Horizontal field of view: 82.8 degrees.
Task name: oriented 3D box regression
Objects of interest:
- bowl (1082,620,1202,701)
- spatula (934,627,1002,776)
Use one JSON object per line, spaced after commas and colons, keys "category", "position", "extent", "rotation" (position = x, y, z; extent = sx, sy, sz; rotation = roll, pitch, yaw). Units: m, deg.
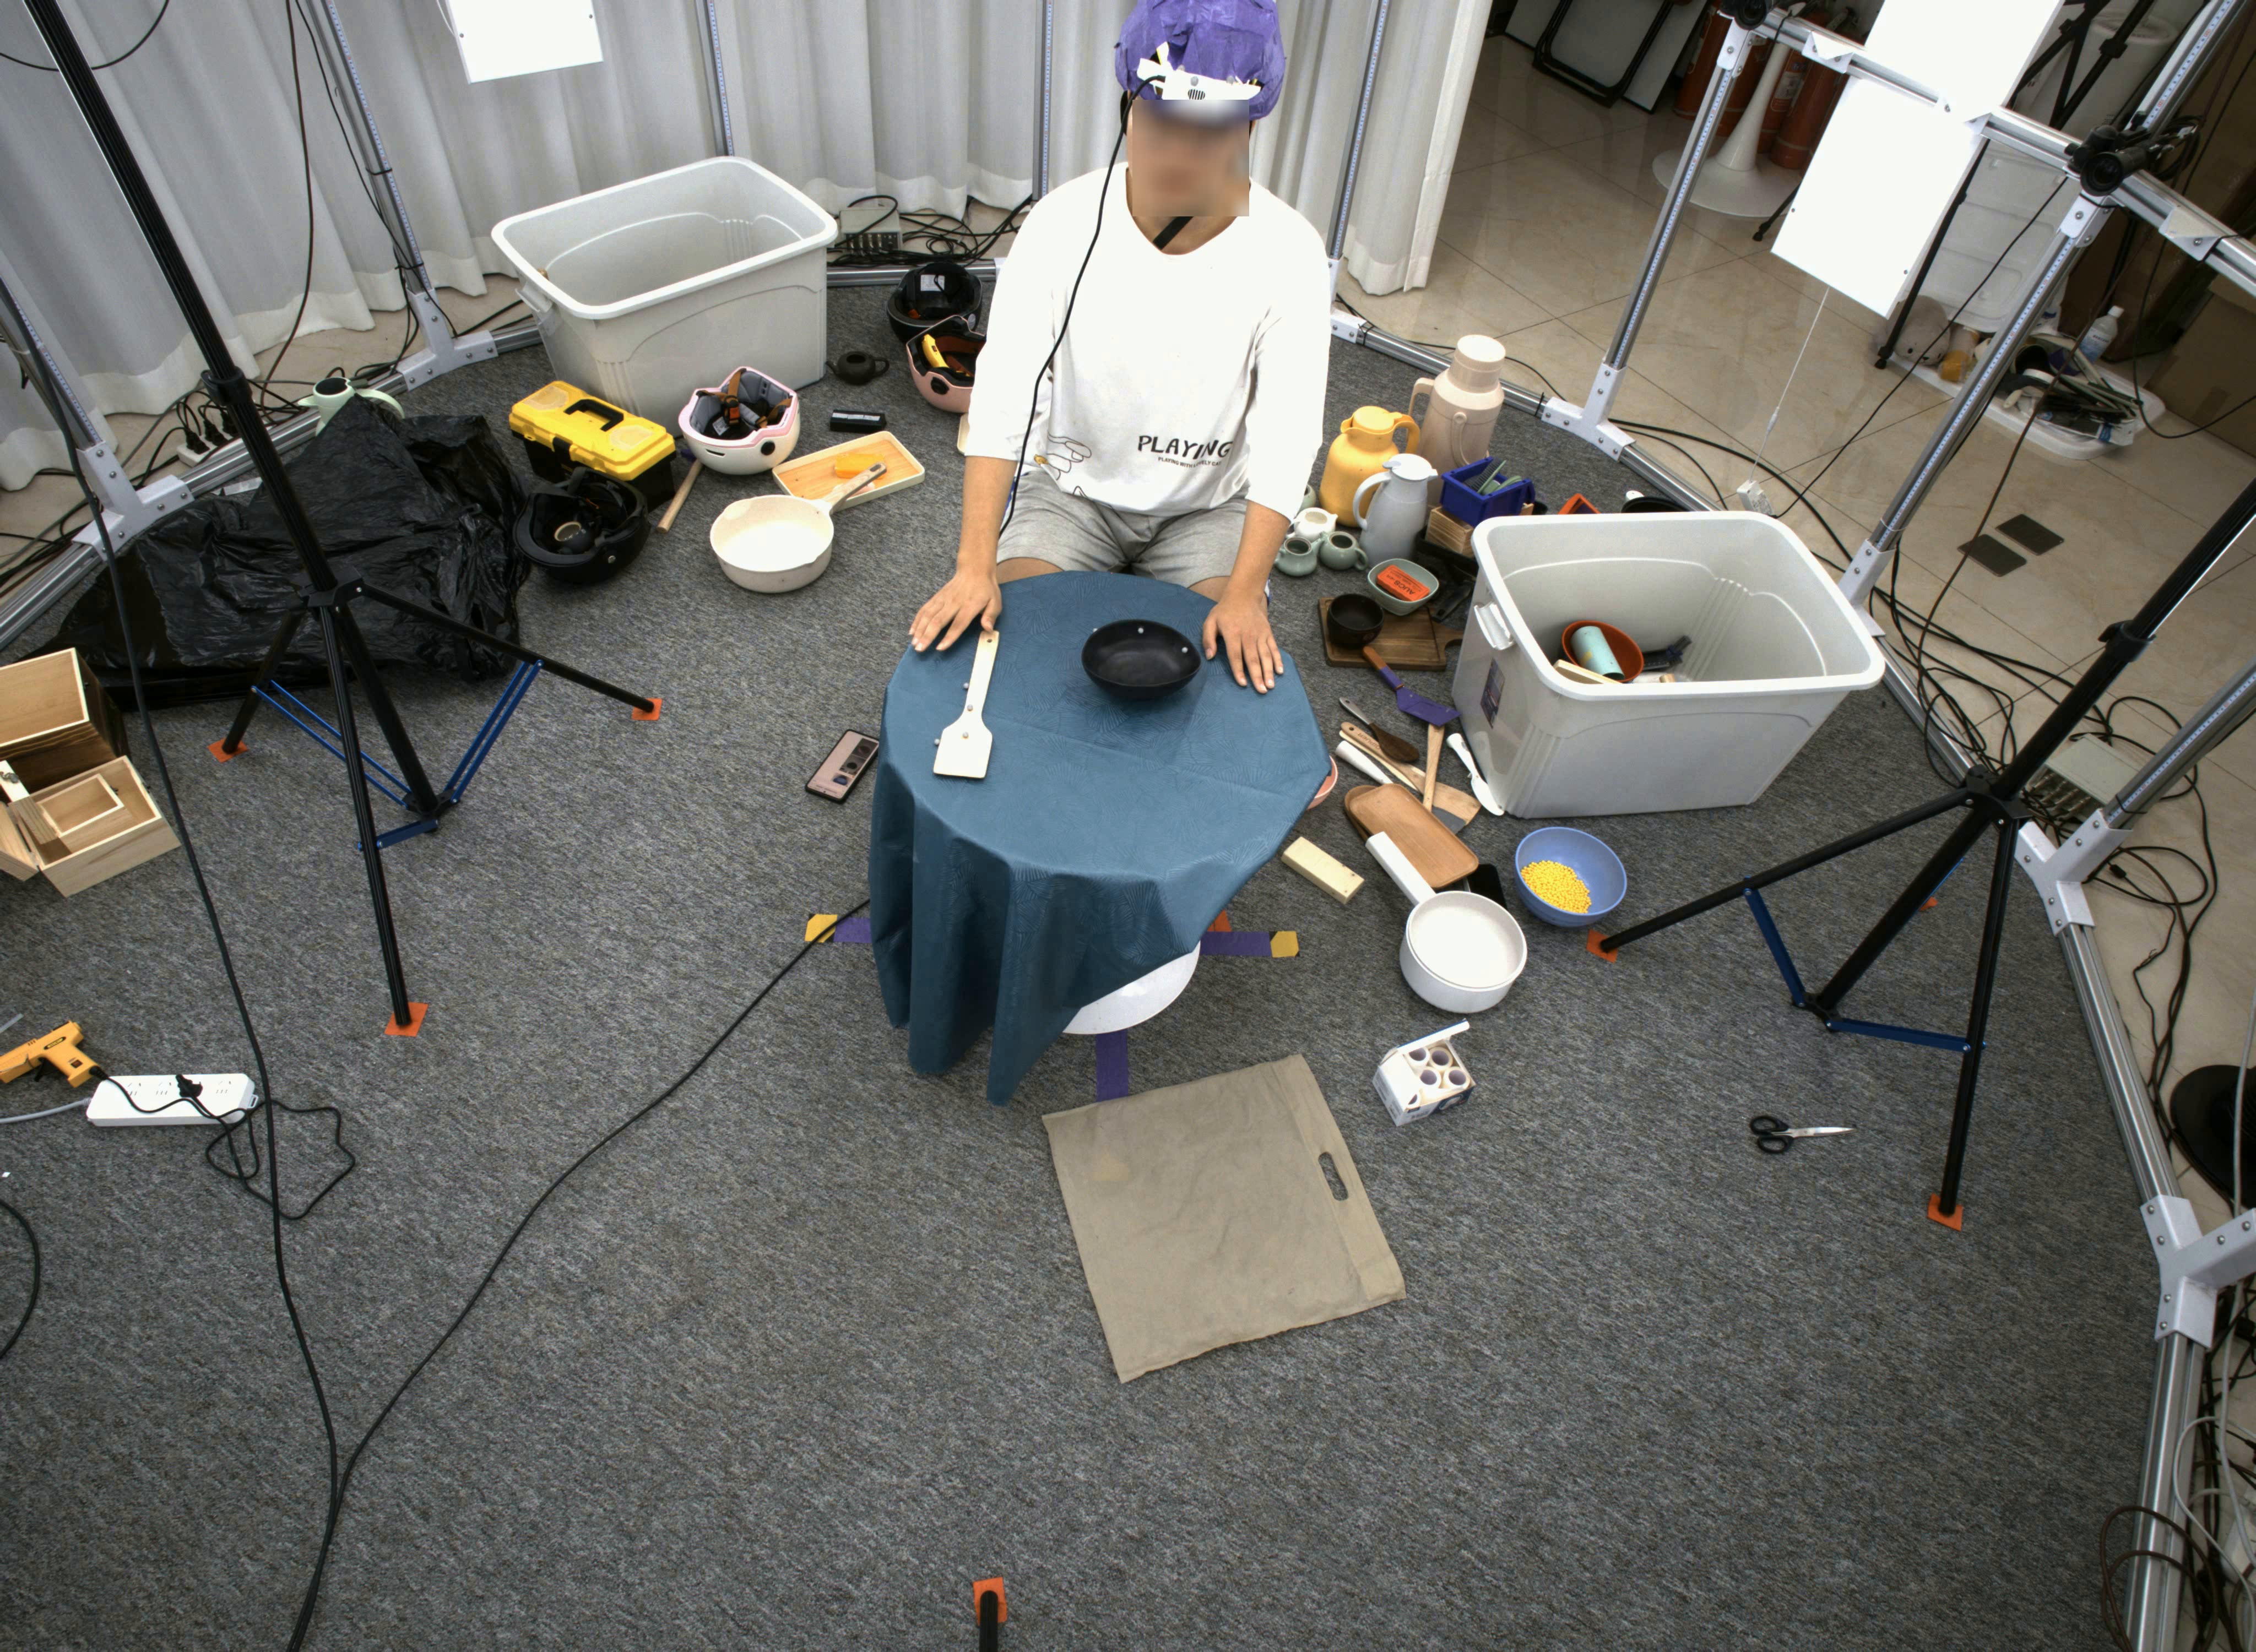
{"category": "bowl", "position": [0.018, -0.225, 1.820], "extent": [0.170, 0.065, 0.141], "rotation": [-3, 49, -10]}
{"category": "spatula", "position": [-0.211, -0.179, 1.798], "extent": [0.072, 0.010, 0.300], "rotation": [5, 49, 2]}
